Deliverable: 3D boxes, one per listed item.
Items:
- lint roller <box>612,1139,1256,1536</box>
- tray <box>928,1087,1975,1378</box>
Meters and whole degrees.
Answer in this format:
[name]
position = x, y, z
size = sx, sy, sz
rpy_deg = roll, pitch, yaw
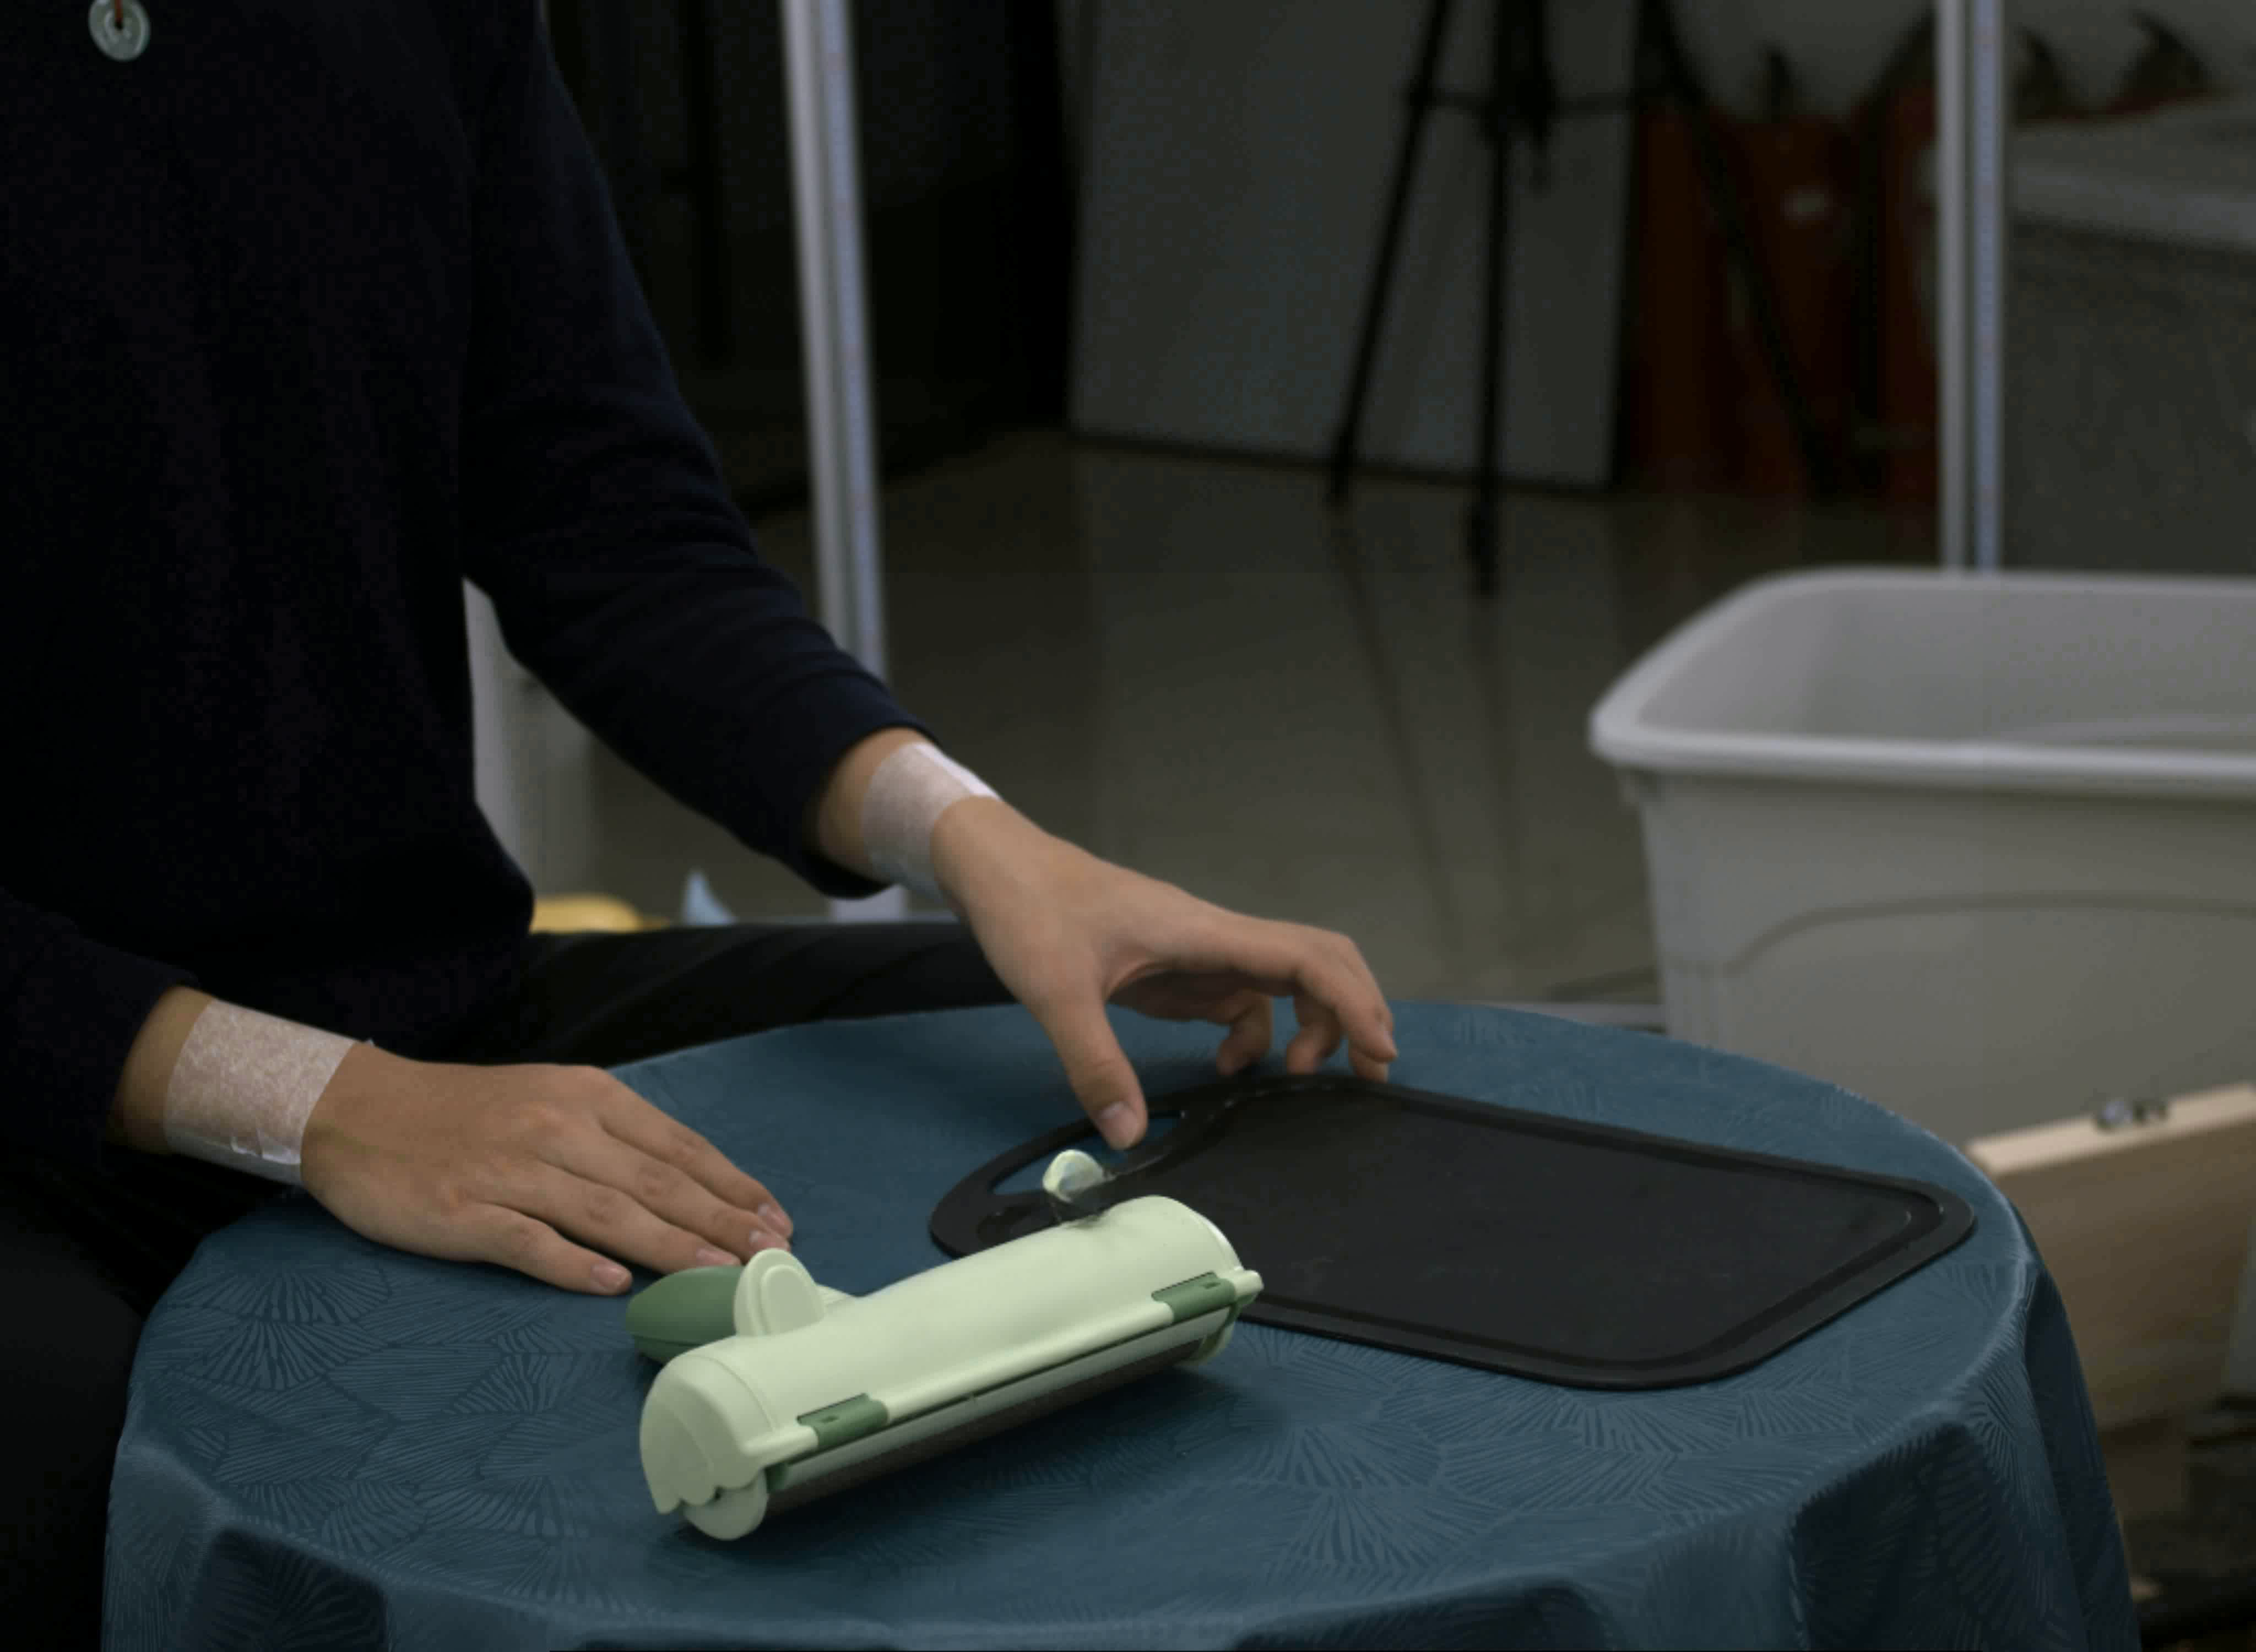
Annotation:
[lint roller]
position = -0.090, 0.131, 1.575
size = 0.194, 0.083, 0.185
rpy_deg = -15, 24, -41
[tray]
position = 0.094, 0.124, 1.717
size = 0.328, 0.010, 0.207
rpy_deg = 7, 18, 39
